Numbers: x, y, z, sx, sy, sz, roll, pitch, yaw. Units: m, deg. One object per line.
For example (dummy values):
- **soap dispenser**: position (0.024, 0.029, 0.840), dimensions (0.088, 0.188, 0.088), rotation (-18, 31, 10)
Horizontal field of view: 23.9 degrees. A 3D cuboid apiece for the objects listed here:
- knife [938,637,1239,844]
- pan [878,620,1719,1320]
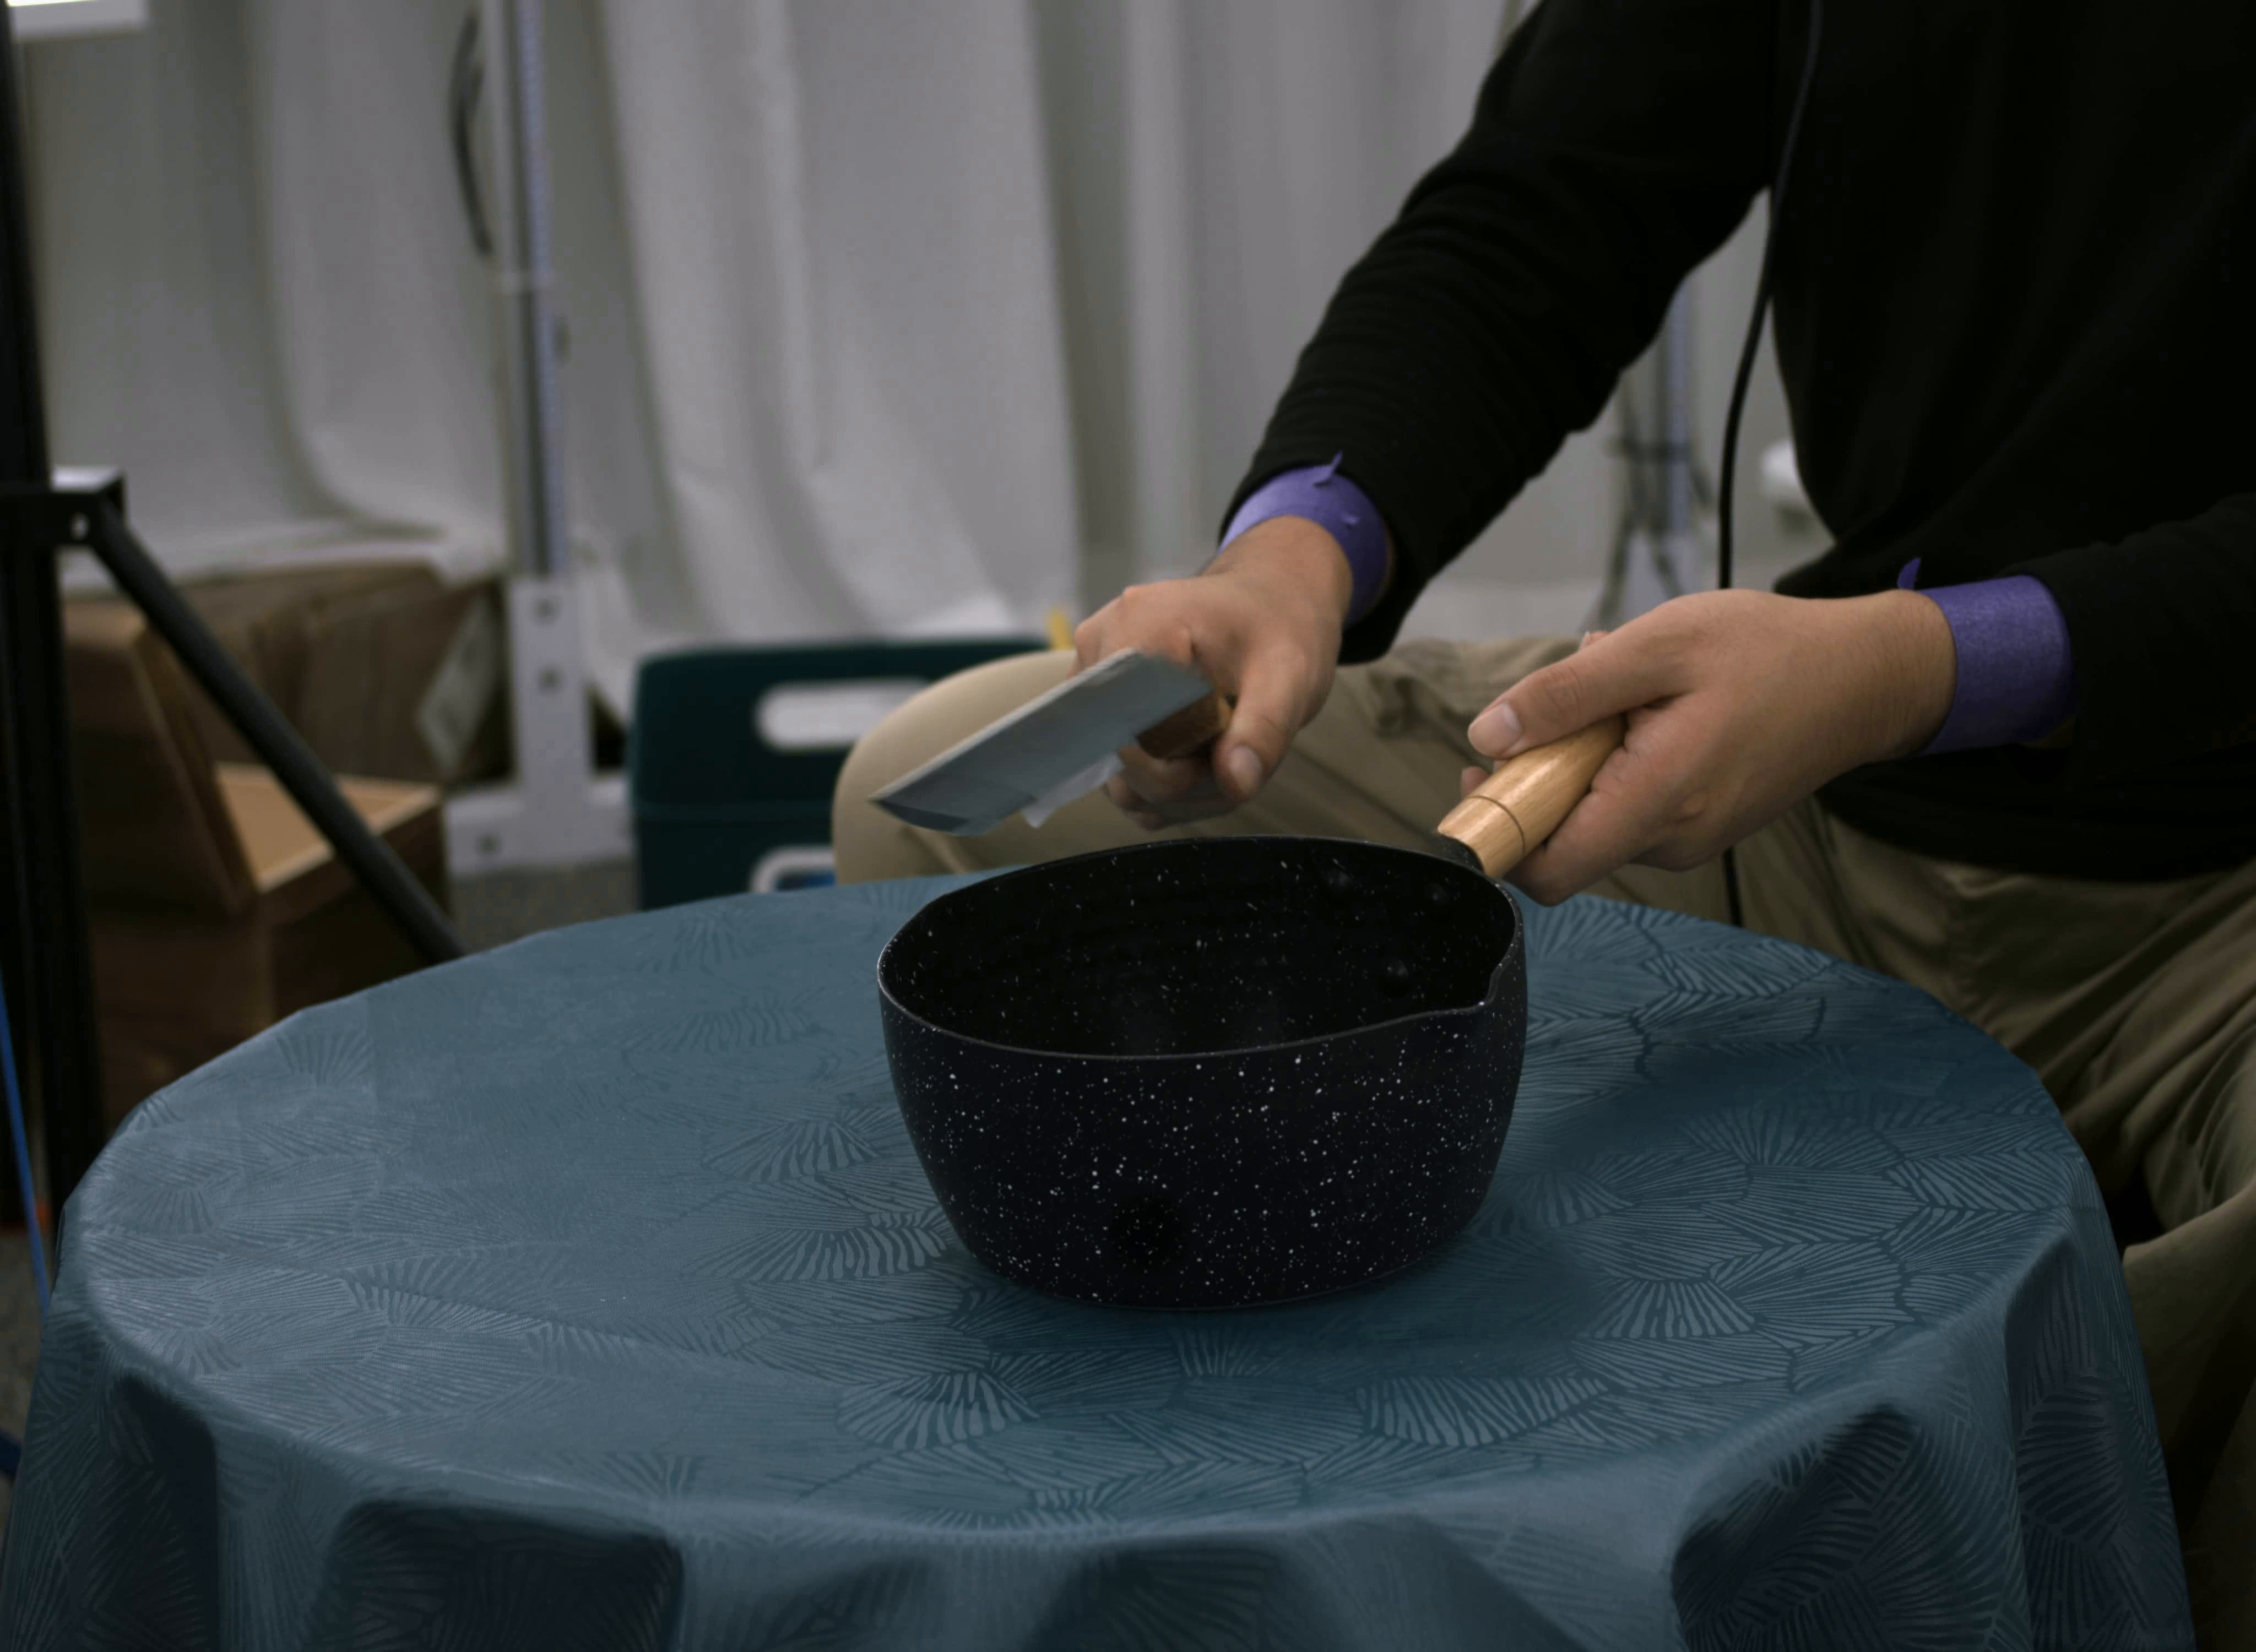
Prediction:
- **knife**: position (-0.012, -0.022, 1.630), dimensions (0.093, 0.021, 0.303), rotation (-30, -6, 3)
- **pan**: position (0.072, 0.038, 1.563), dimensions (0.212, 0.108, 0.336), rotation (9, 25, 39)
